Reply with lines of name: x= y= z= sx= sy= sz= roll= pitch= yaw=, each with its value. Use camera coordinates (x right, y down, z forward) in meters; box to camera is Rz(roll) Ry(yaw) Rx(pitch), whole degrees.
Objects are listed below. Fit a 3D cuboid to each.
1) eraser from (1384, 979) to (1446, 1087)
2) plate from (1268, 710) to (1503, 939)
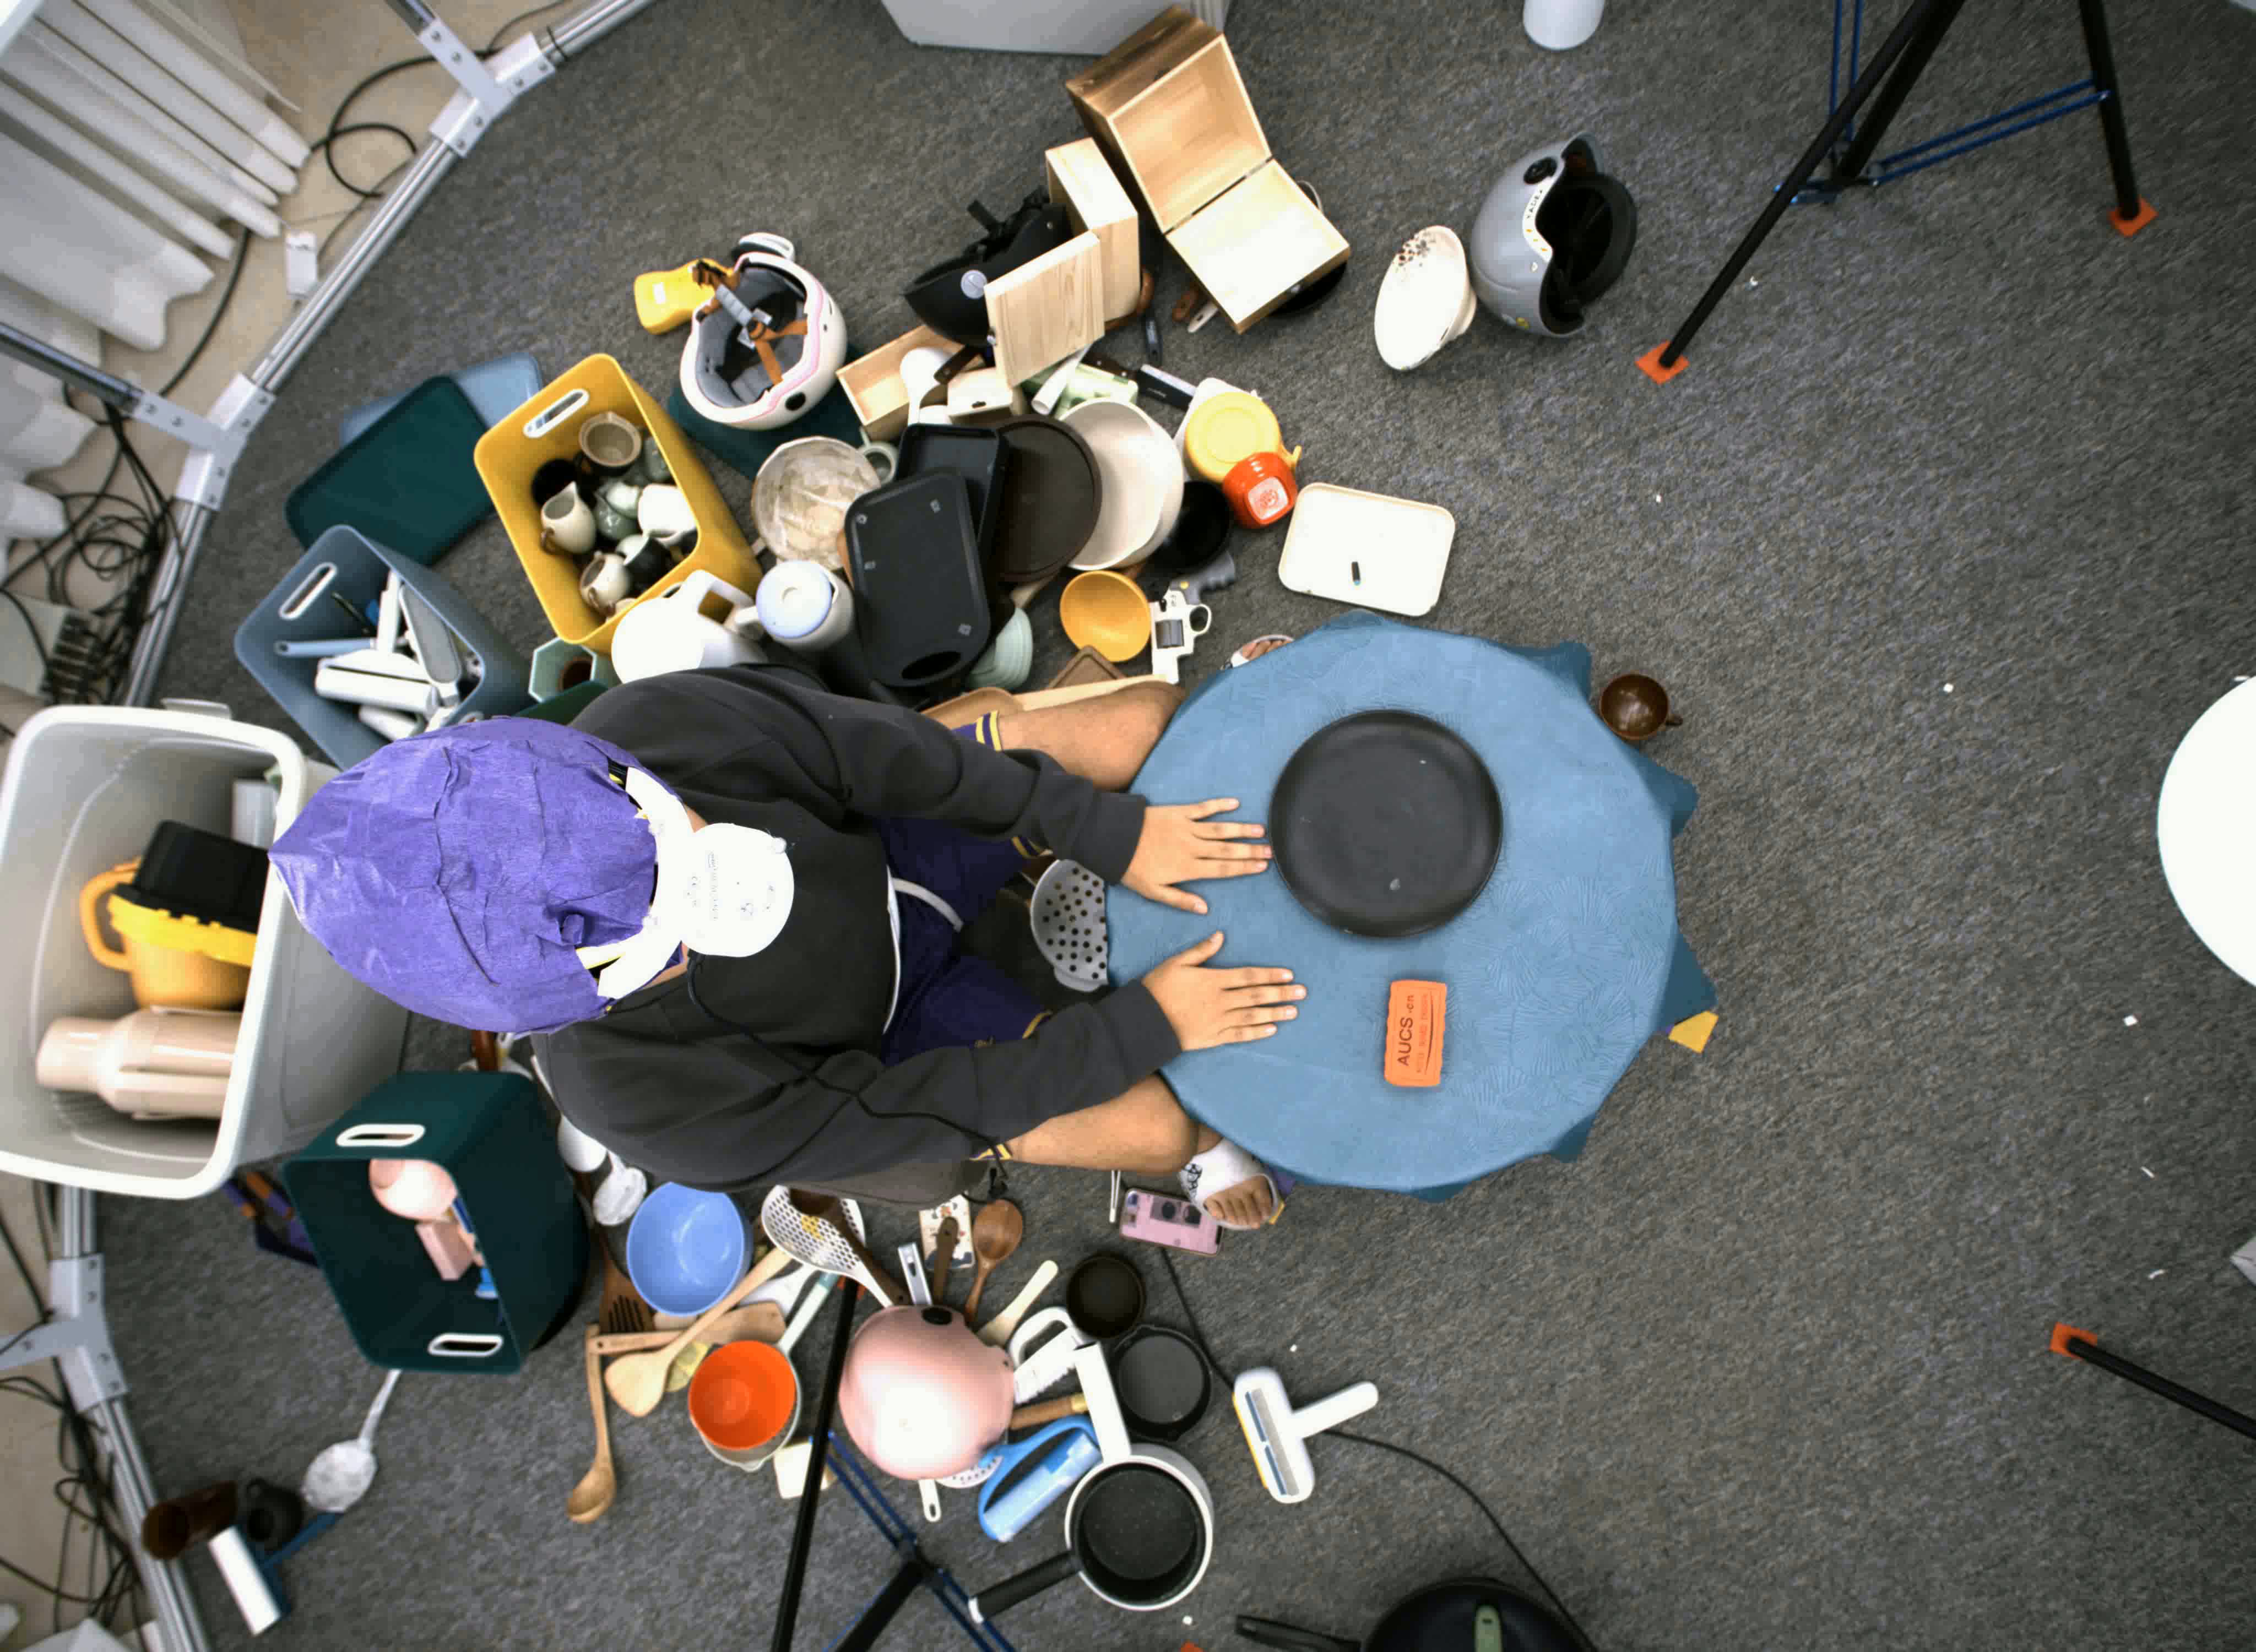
eraser: x=0.298 y=0.213 z=1.431 sx=0.059 sy=0.023 sz=0.107 roll=4 pitch=86 yaw=10
plate: x=0.270 y=-0.003 z=1.452 sx=0.245 sy=0.023 sz=0.243 roll=-1 pitch=87 yaw=11
